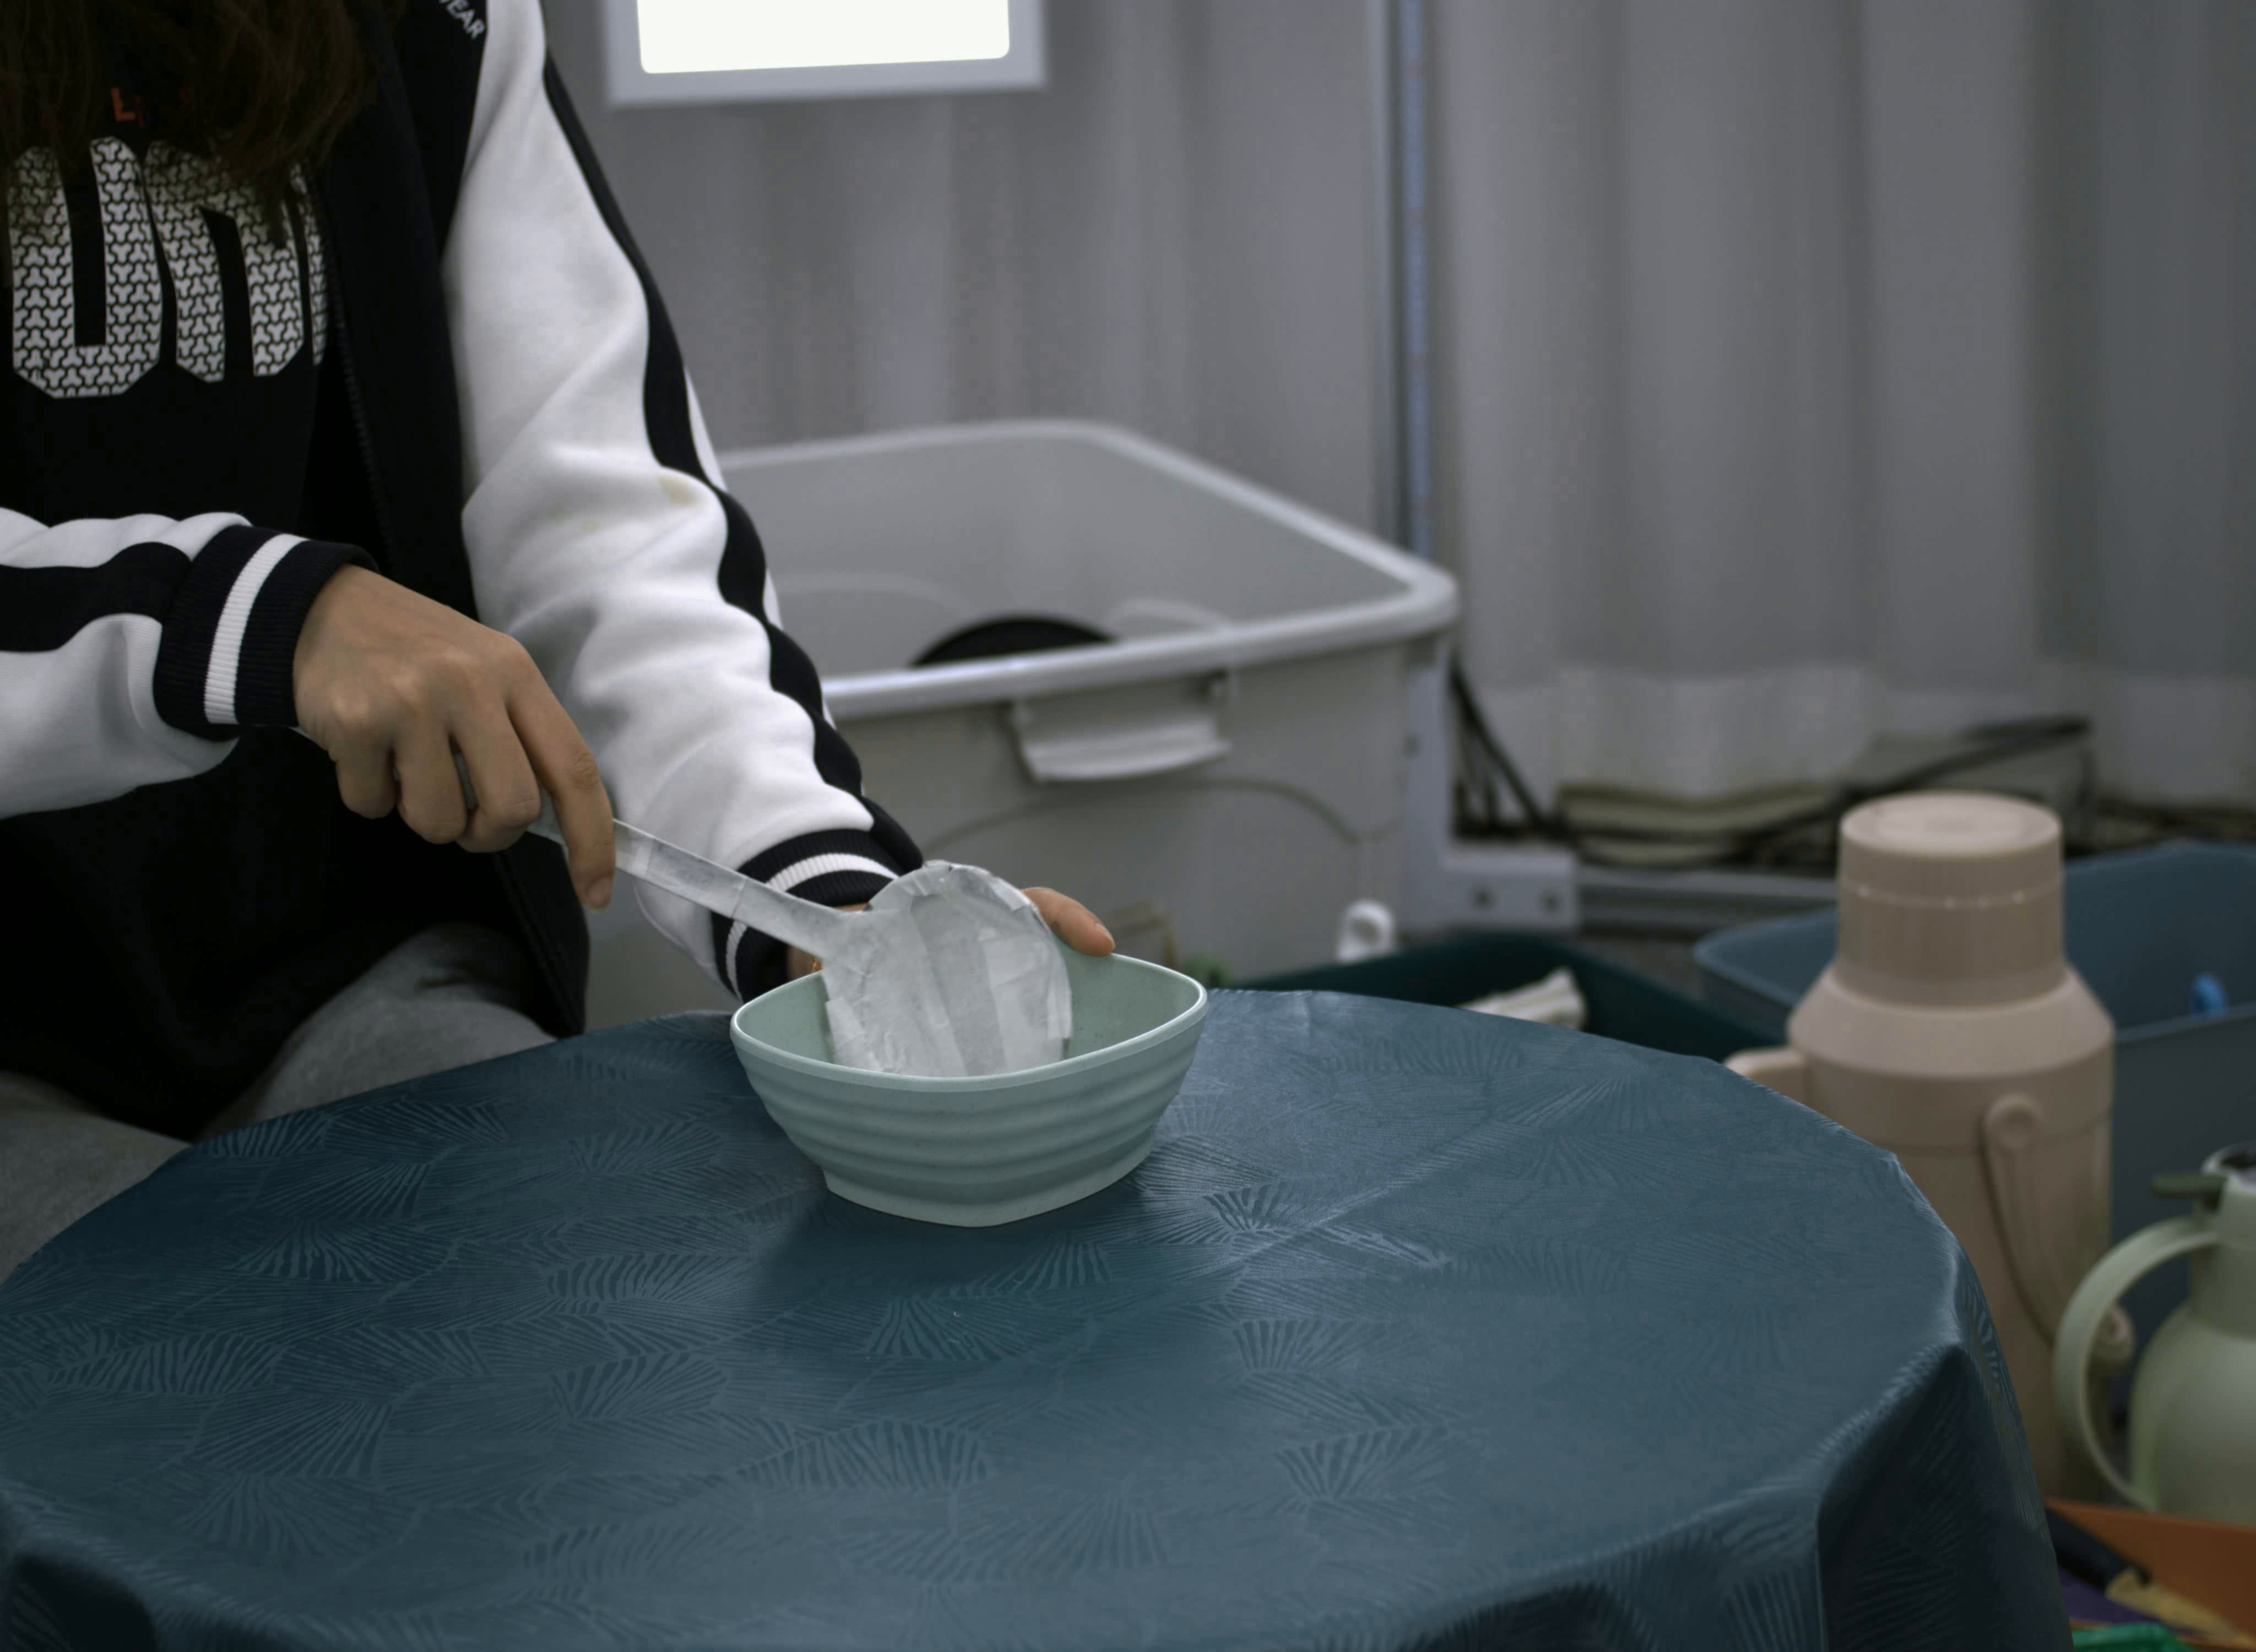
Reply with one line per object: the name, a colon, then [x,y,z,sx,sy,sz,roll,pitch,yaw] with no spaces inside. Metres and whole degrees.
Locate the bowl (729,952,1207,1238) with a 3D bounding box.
bowl: [-0.049,0.087,1.729,0.151,0.058,0.152,-2,15,0]

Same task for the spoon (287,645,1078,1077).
spoon: [-0.142,0.009,1.731,0.276,0.100,0.059,27,8,-4]
